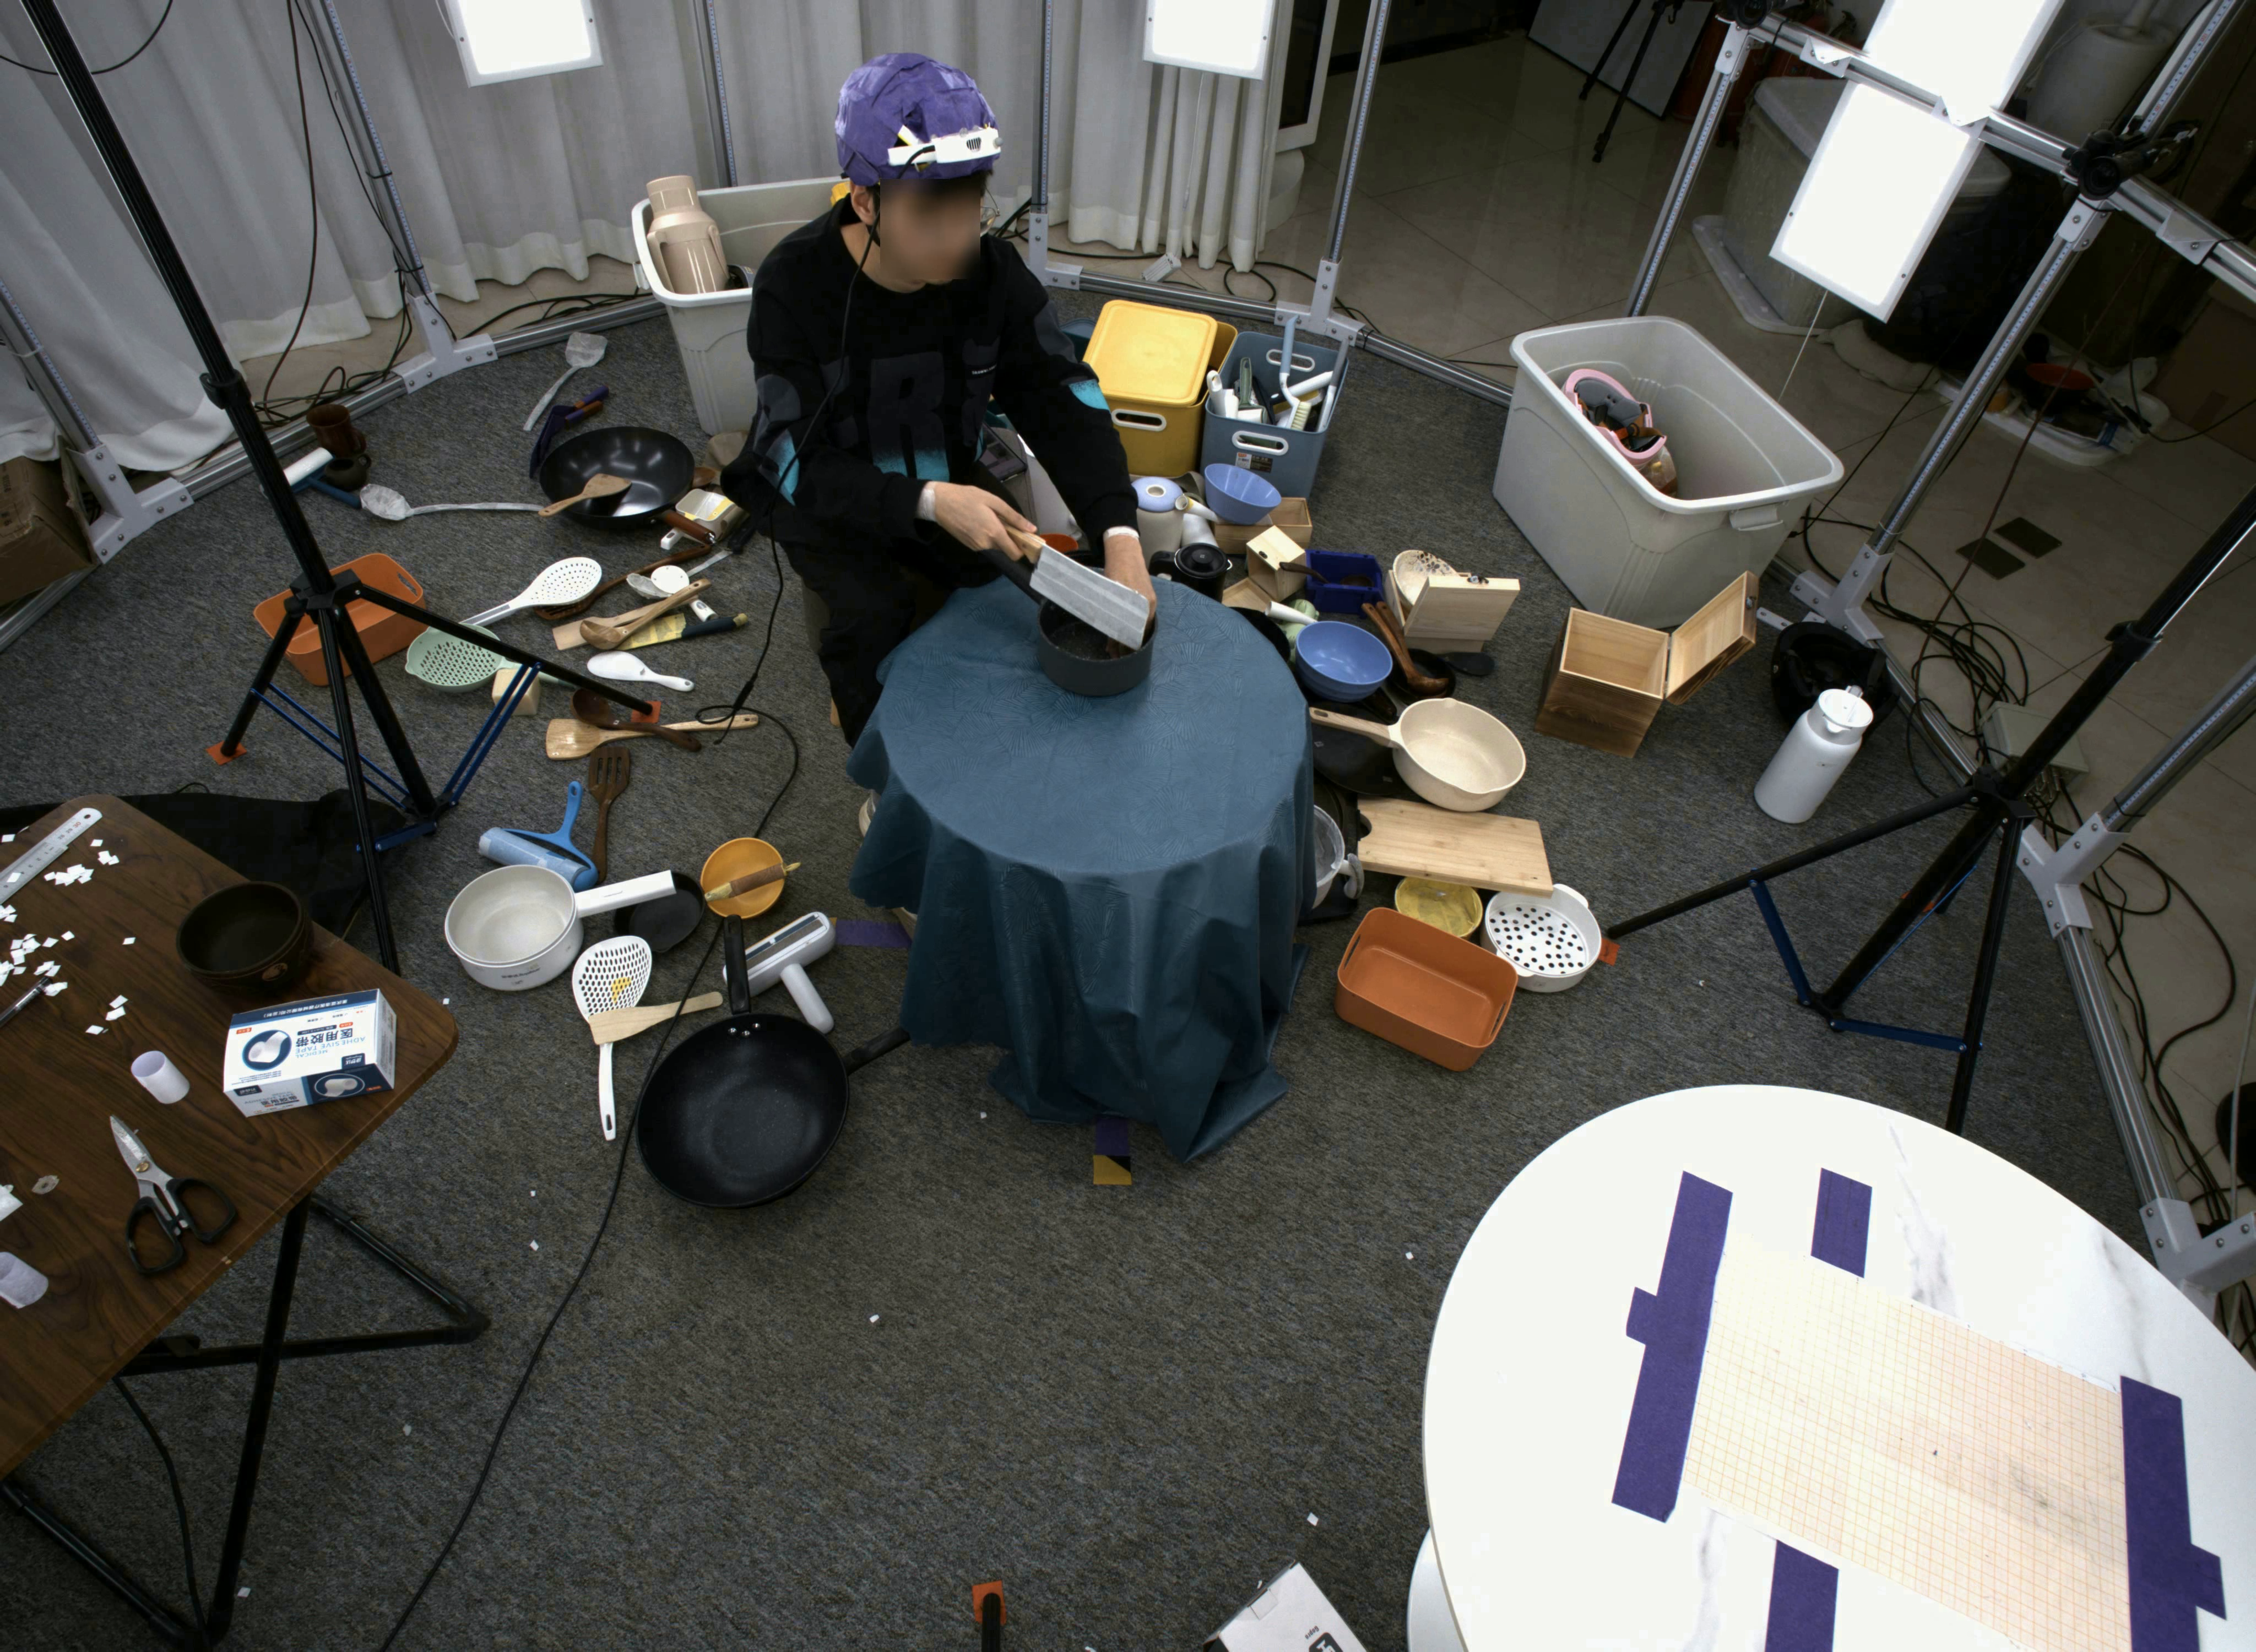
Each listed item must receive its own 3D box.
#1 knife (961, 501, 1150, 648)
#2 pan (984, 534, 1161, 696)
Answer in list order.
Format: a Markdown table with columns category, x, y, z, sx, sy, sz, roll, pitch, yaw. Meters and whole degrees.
| category | x | y | z | sx | sy | sz | roll | pitch | yaw |
| --- | --- | --- | --- | --- | --- | --- | --- | --- | --- |
| knife | -0.099 | -0.357 | 1.787 | 0.317 | 0.111 | 0.022 | 34 | 53 | 7 |
| pan | -0.096 | -0.316 | 1.882 | 0.173 | 0.084 | 0.334 | -33 | 59 | -31 |
